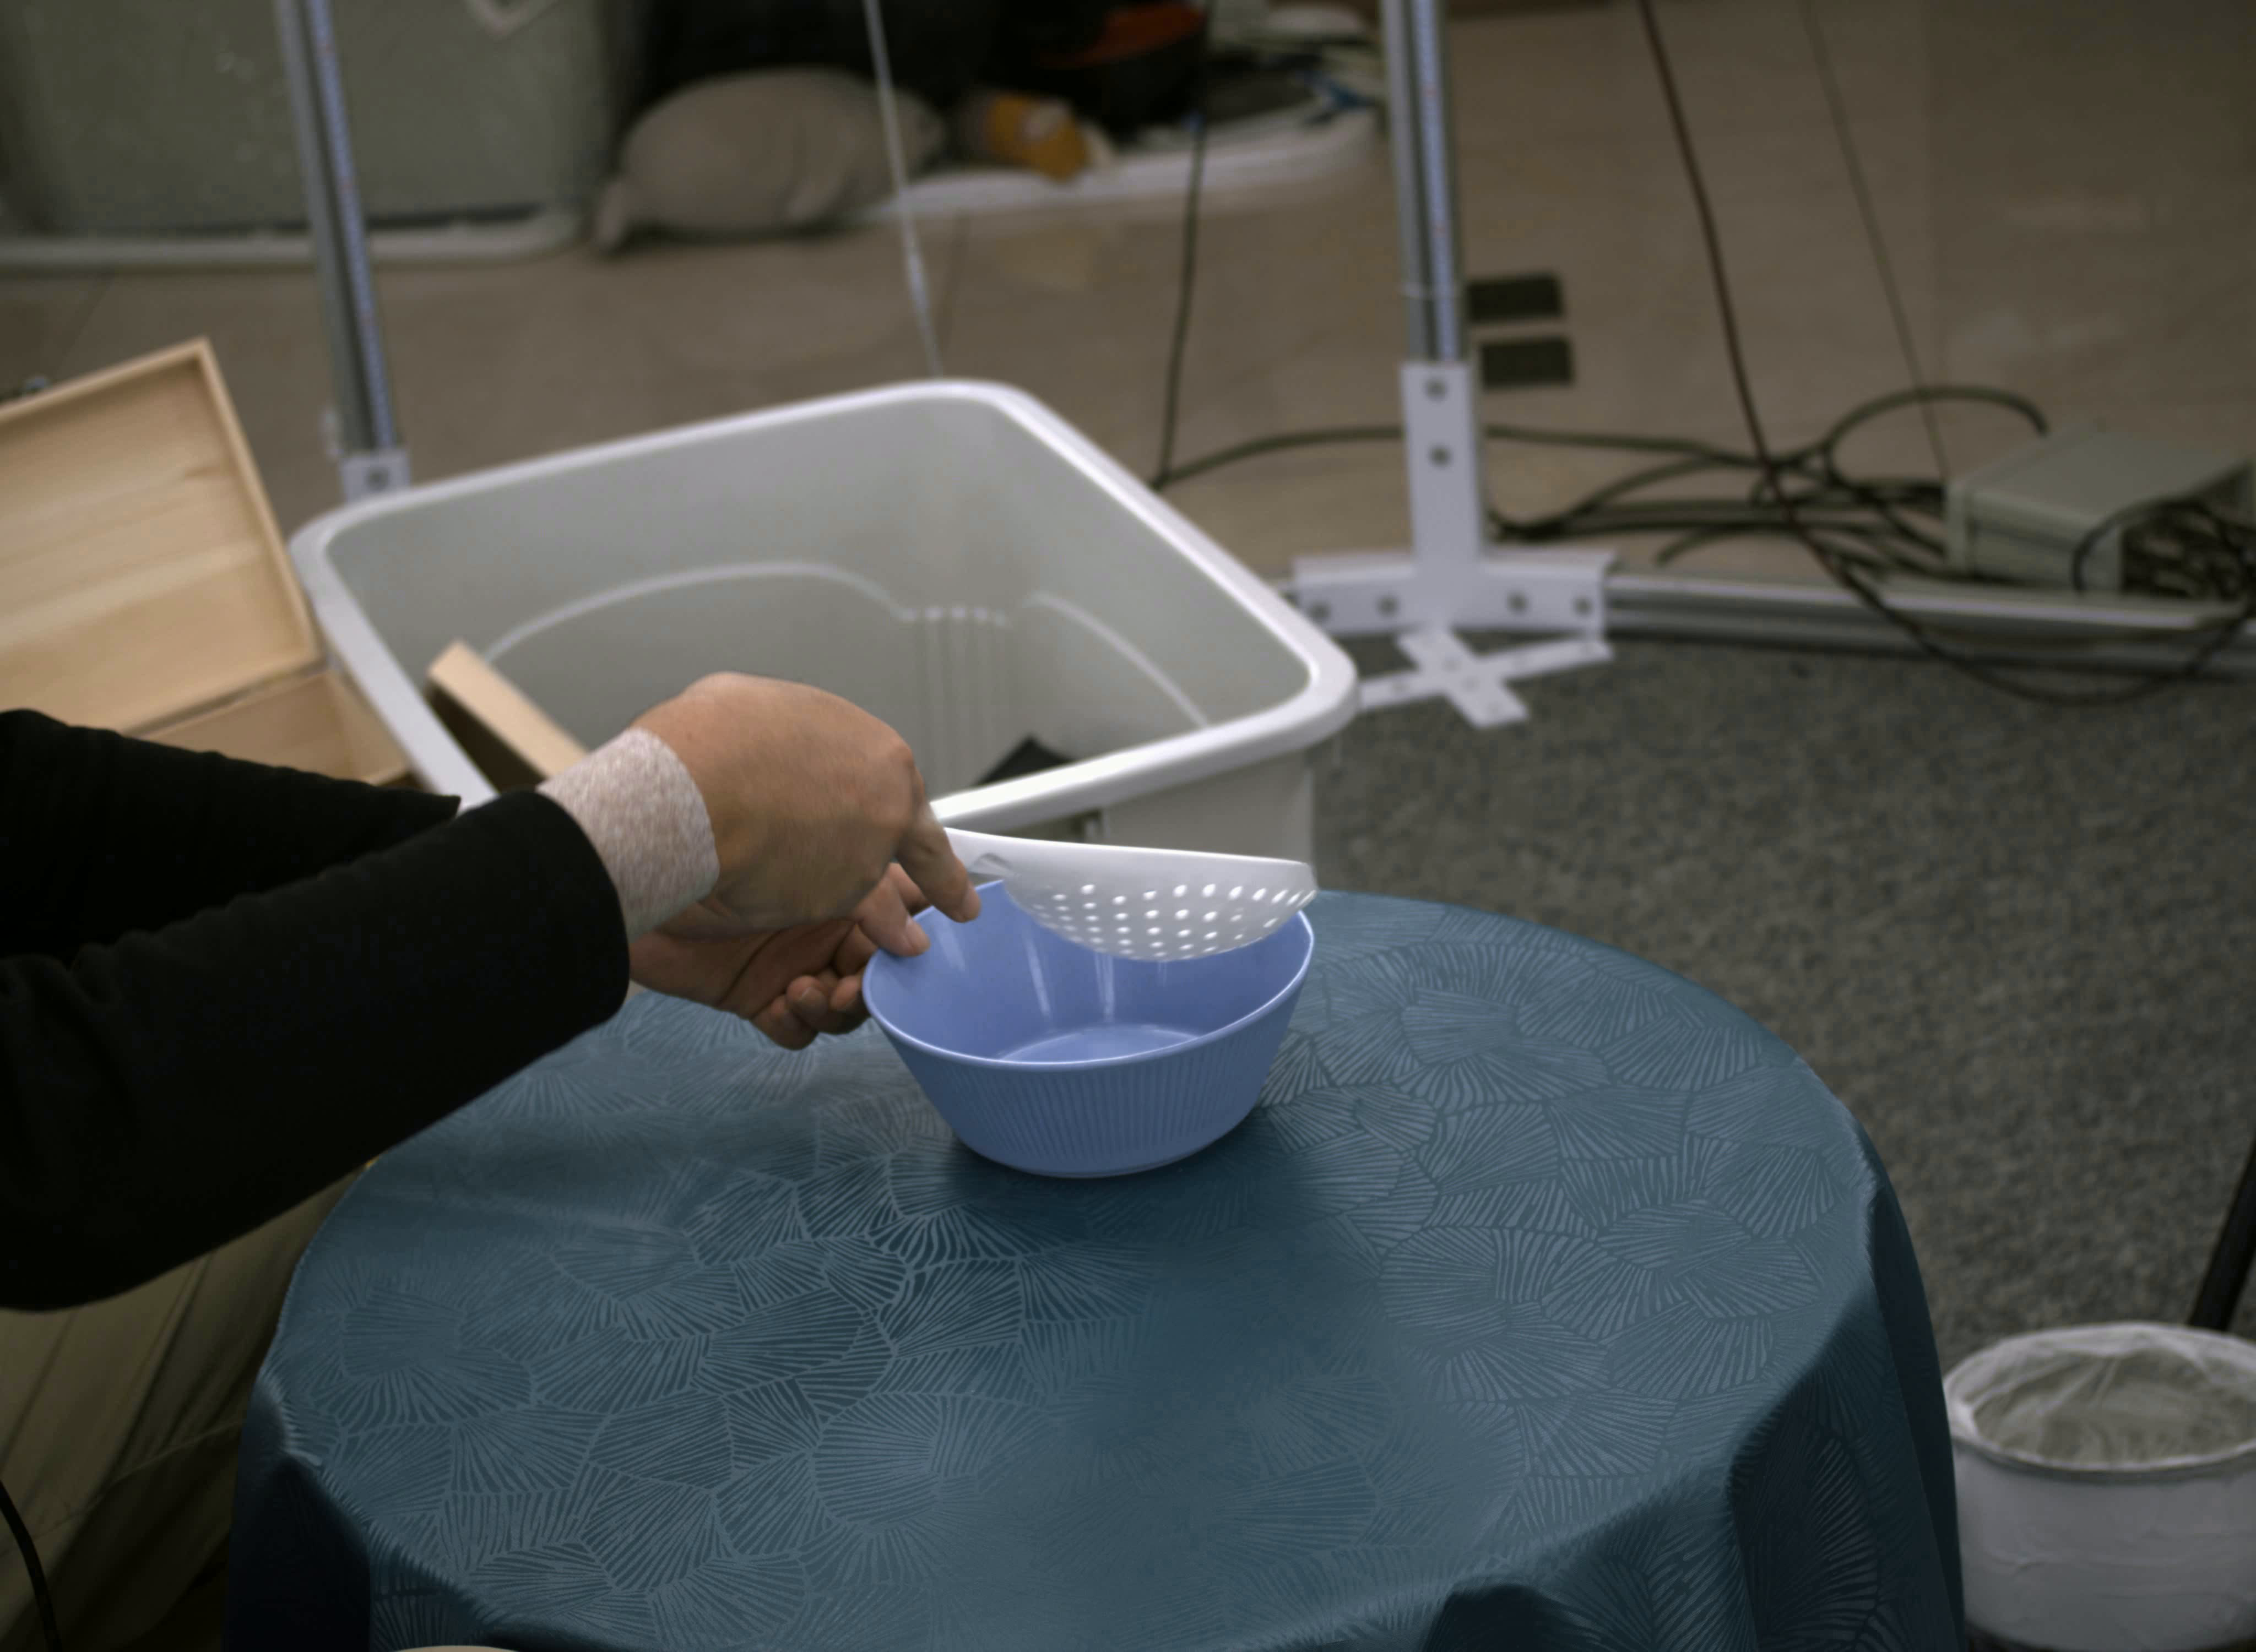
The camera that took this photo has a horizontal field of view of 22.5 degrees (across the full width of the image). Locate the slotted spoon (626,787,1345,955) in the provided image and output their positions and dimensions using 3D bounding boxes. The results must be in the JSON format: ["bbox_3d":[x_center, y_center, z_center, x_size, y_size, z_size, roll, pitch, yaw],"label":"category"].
[{"bbox_3d":[-0.053,0.008,2.020,0.135,0.045,0.351,5,-6,37],"label":"slotted spoon"}]

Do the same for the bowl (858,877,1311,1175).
[{"bbox_3d":[-0.014,0.080,2.193,0.176,0.071,0.173,-6,25,3],"label":"bowl"}]
